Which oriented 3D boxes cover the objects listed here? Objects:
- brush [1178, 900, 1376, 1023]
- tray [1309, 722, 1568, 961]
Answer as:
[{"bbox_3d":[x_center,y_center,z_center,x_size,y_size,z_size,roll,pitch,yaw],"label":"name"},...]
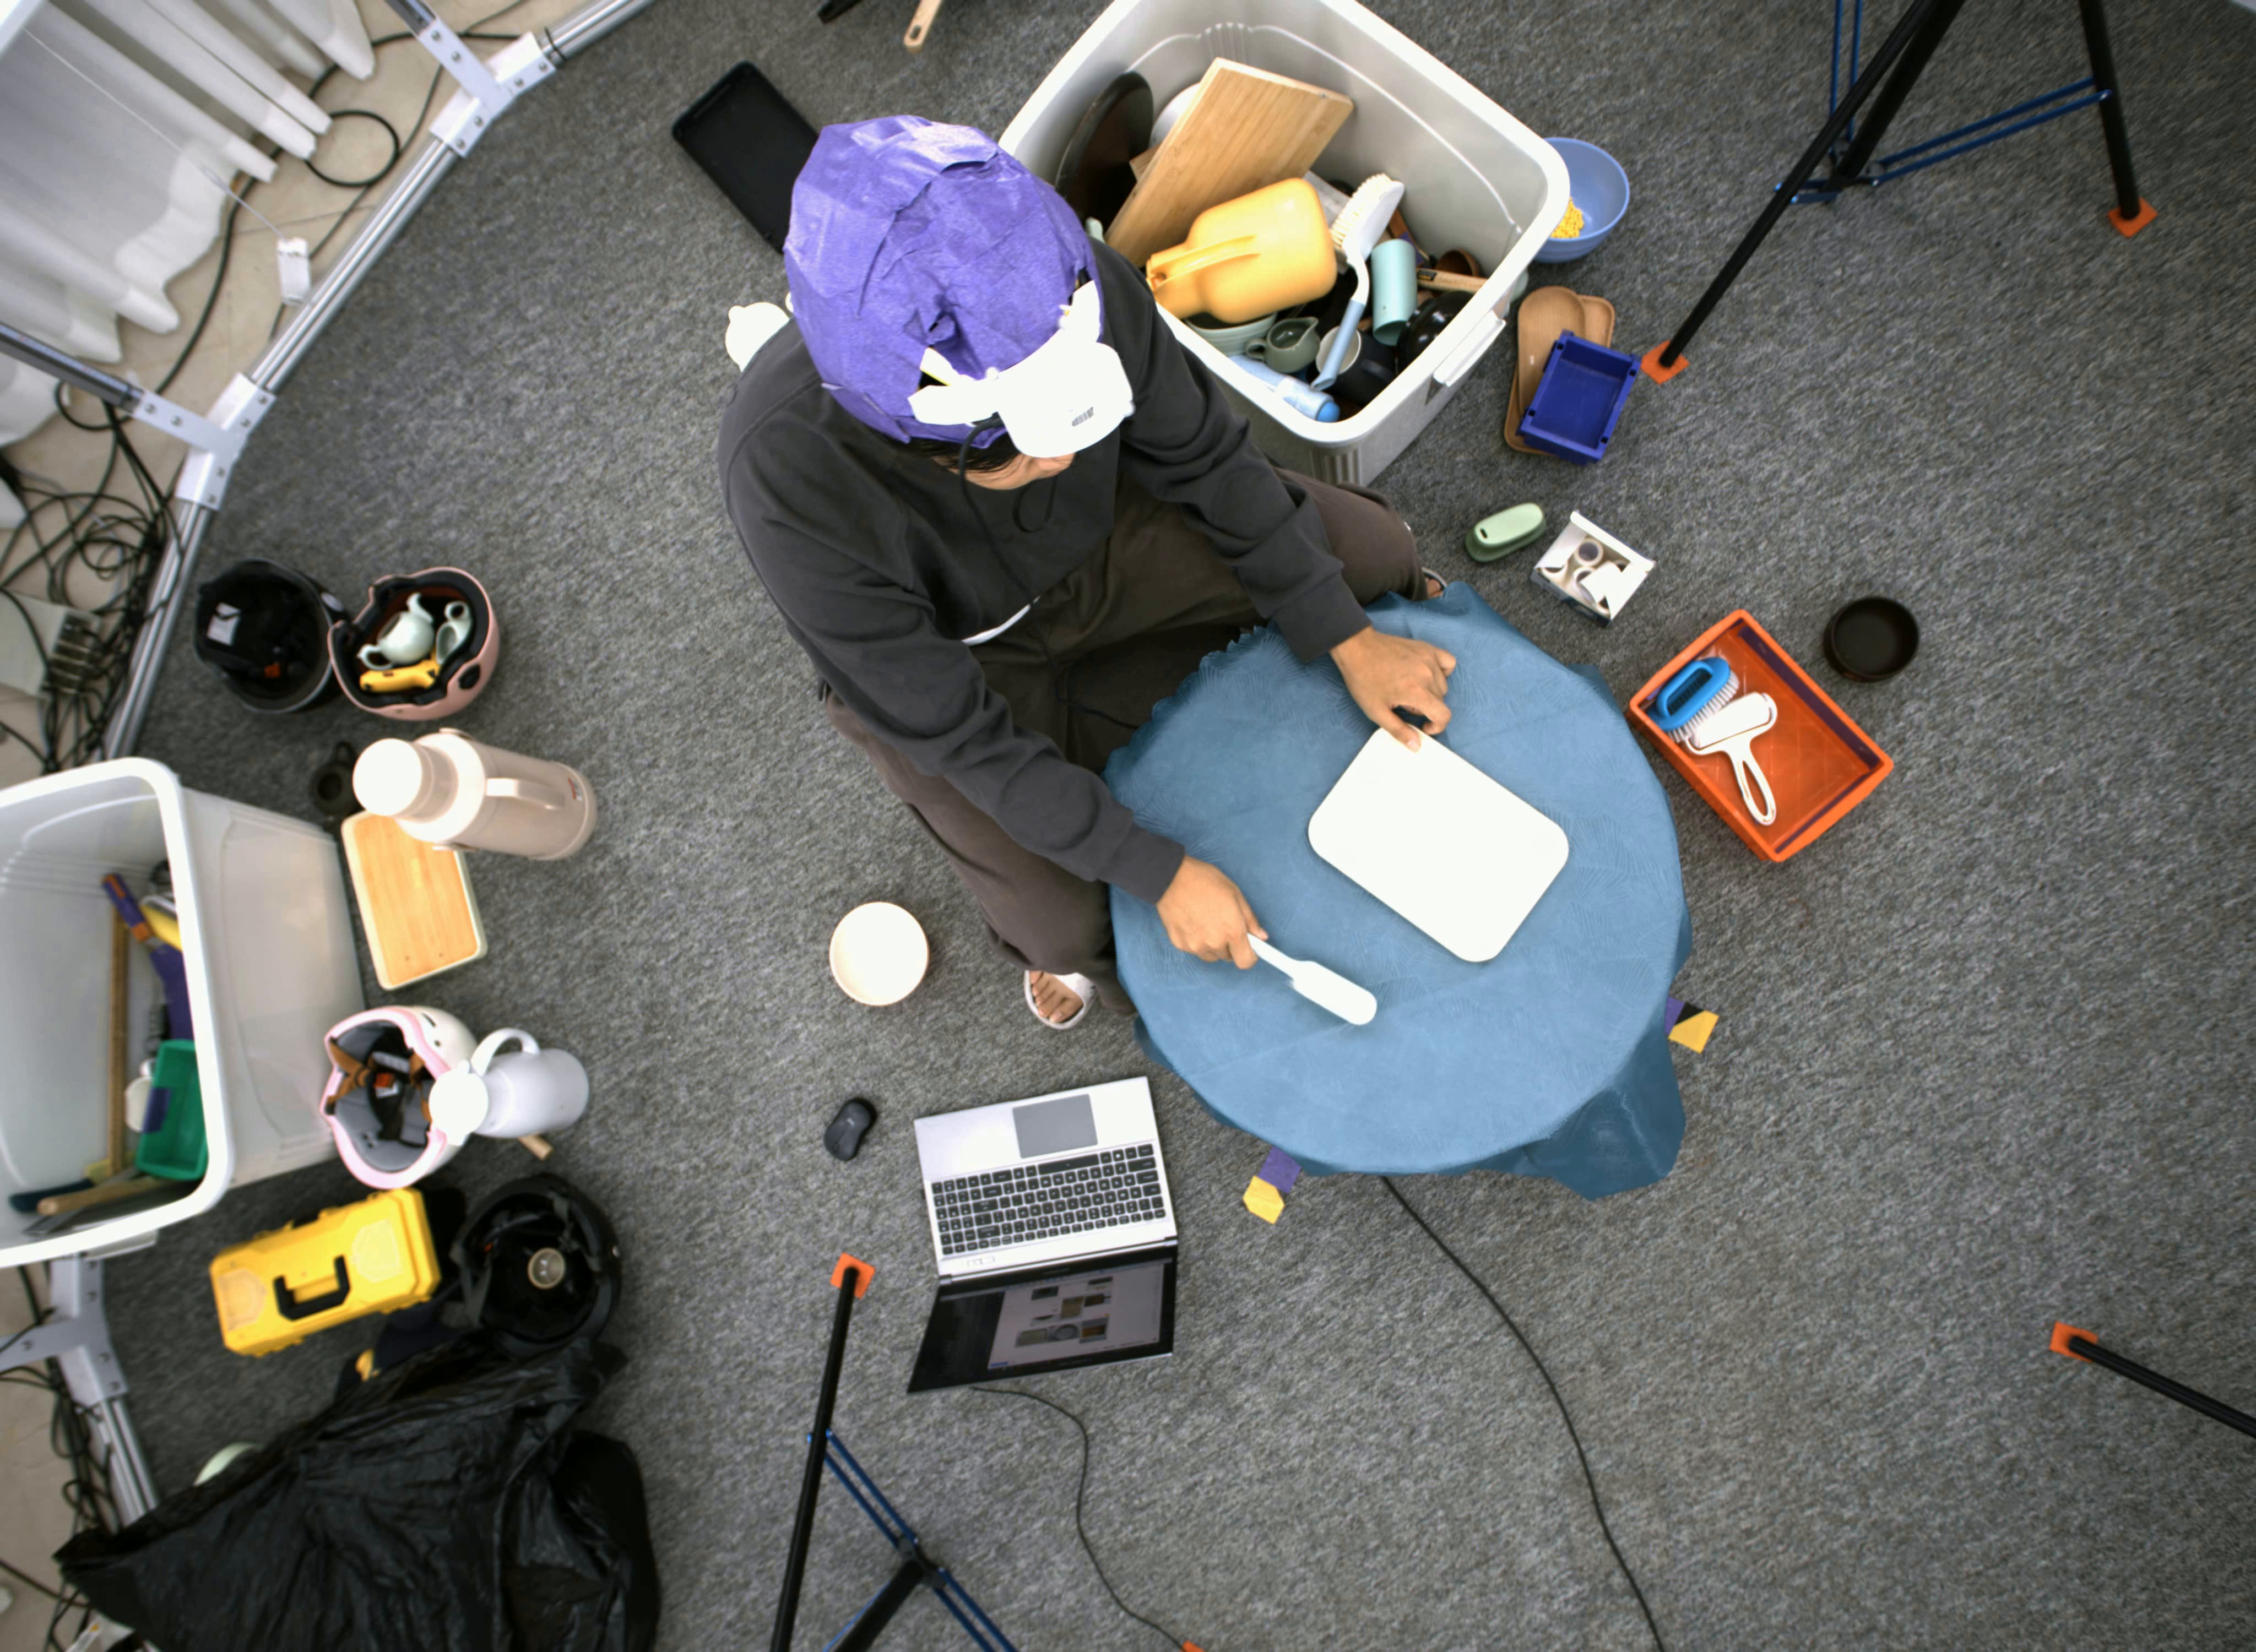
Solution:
[{"bbox_3d":[0.154,0.140,1.451,0.228,0.050,0.037,28,83,9],"label":"brush"},{"bbox_3d":[0.324,0.013,1.445,0.239,0.017,0.171,37,93,11],"label":"tray"}]
